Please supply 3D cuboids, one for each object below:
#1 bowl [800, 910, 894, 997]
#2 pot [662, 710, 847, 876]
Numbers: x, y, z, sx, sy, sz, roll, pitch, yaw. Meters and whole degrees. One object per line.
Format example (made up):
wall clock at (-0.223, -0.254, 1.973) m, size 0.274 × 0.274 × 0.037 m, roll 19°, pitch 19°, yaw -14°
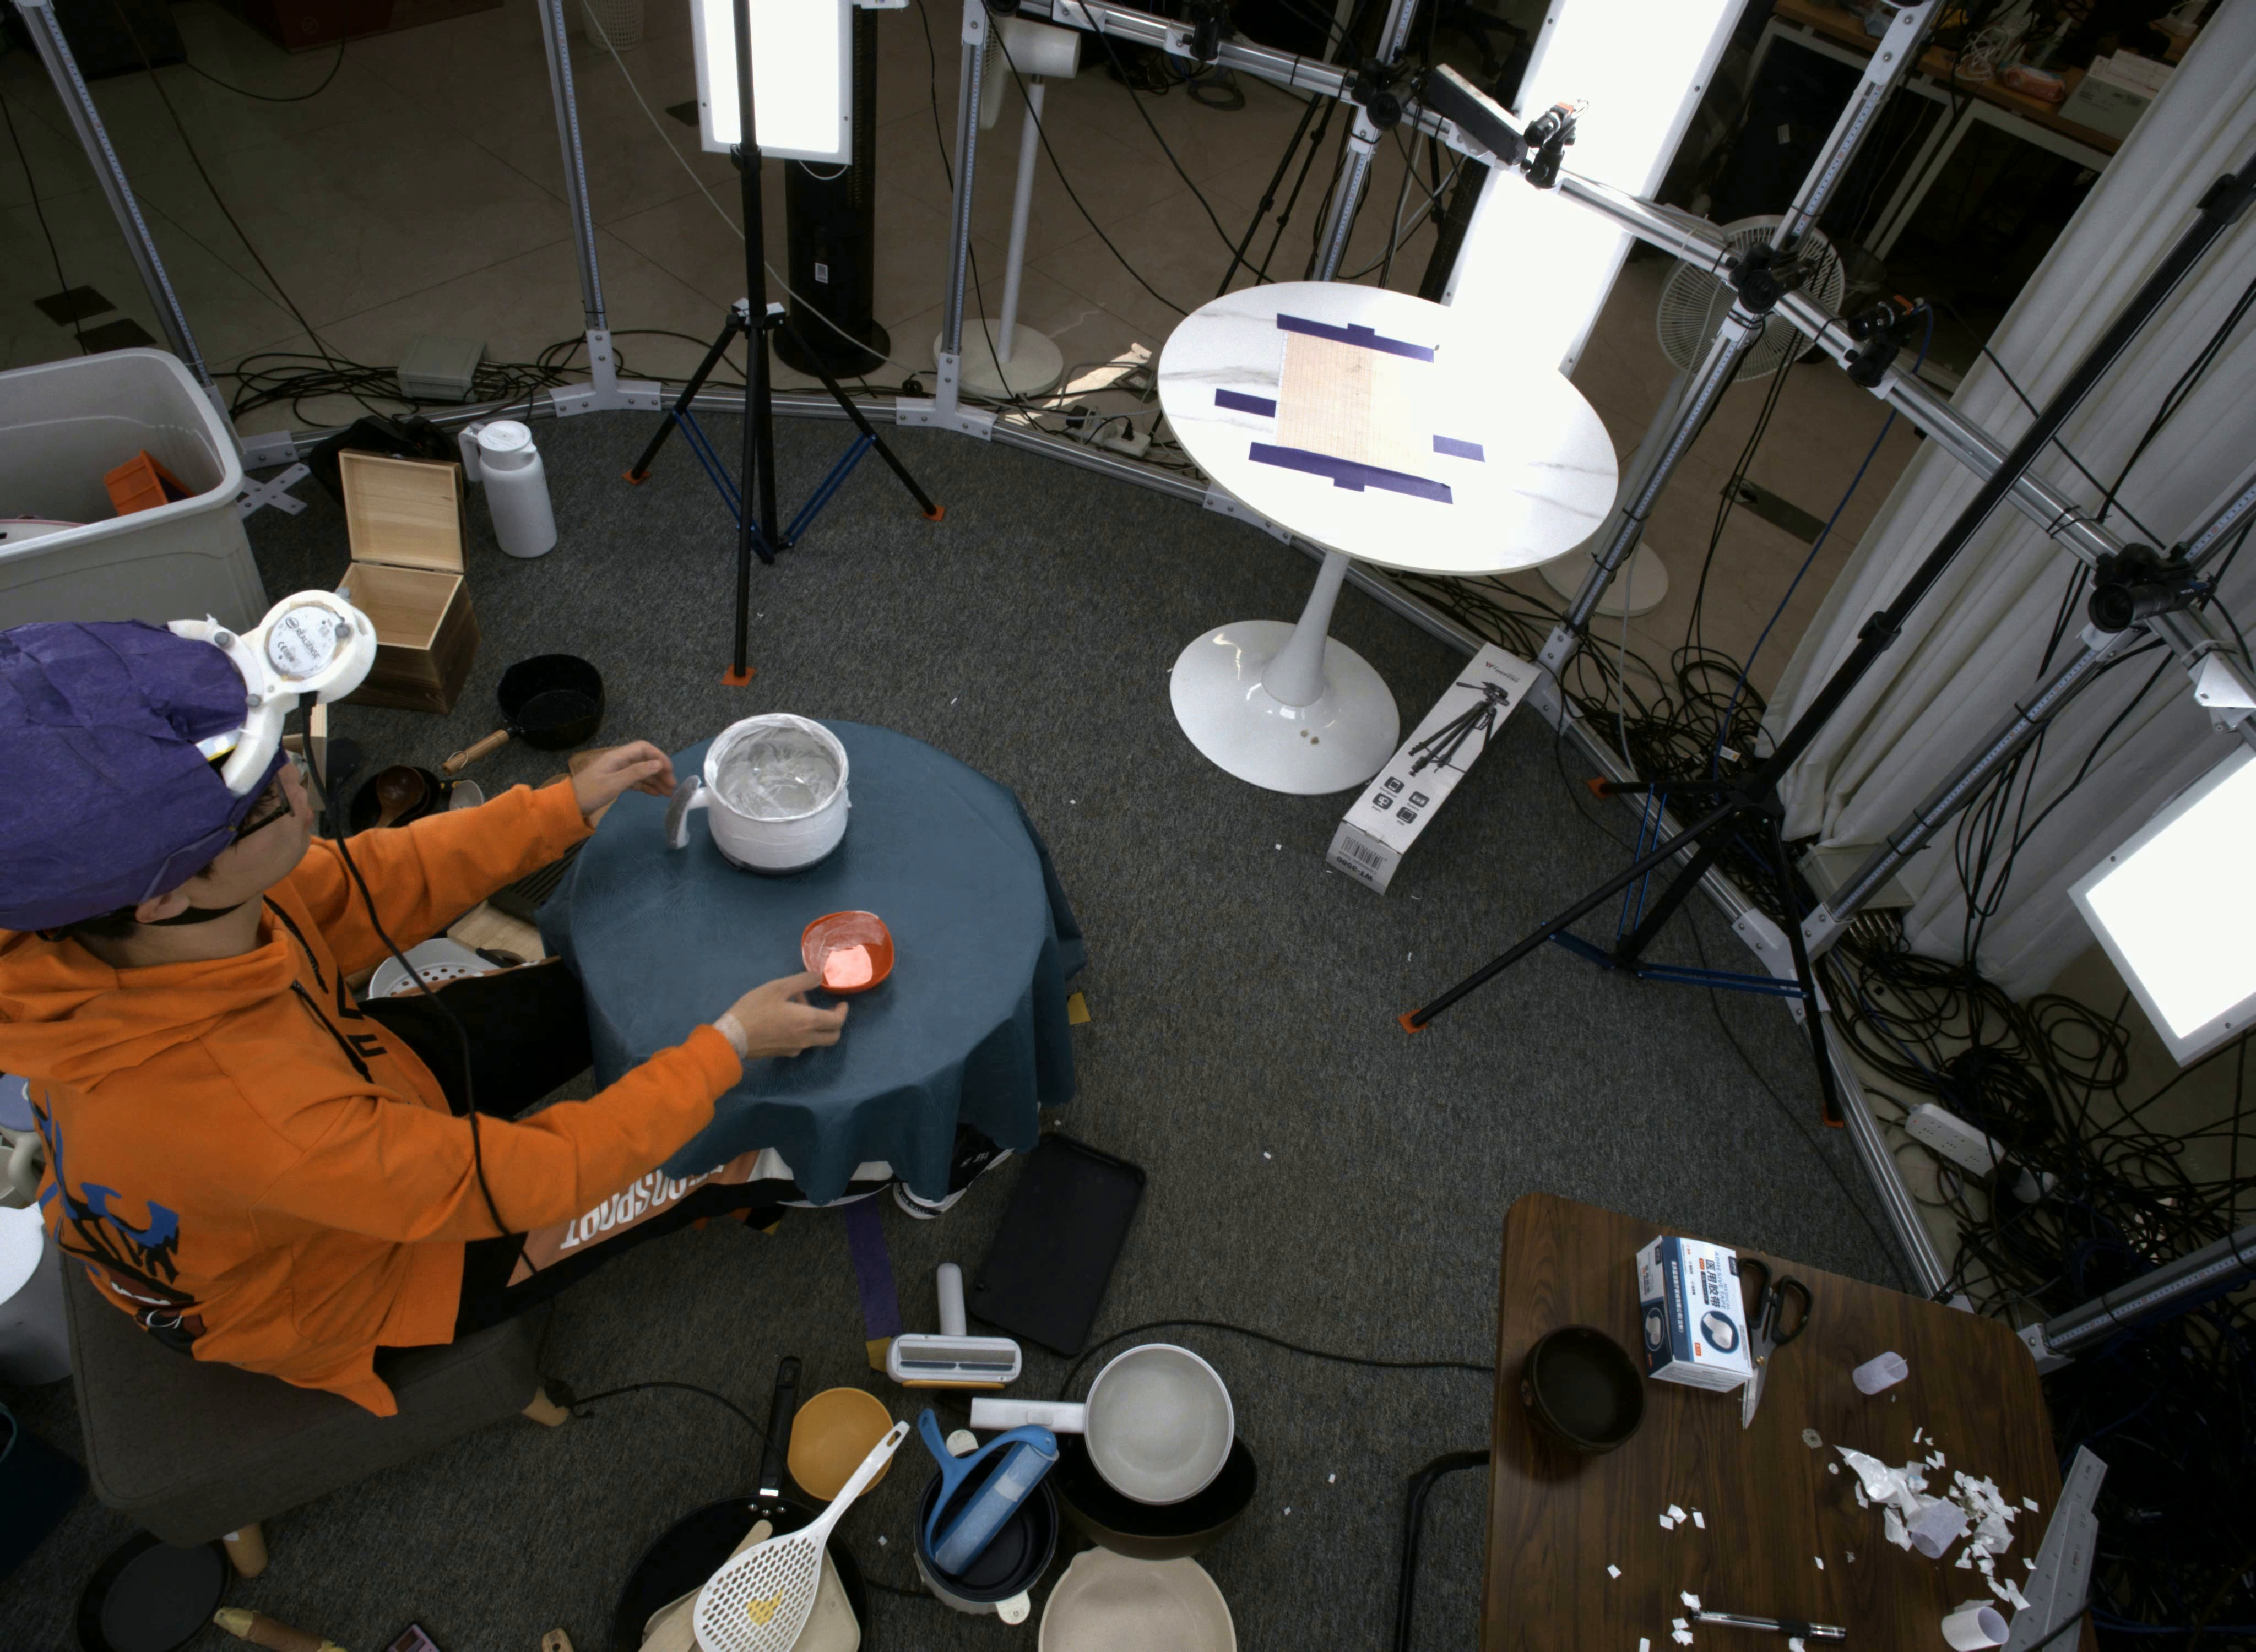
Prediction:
bowl at (-0.342, 0.162, 1.581) m, size 0.119 × 0.052 × 0.117 m, roll 9°, pitch 52°, yaw -10°
pot at (-0.473, -0.032, 1.636) m, size 0.235 × 0.139 × 0.174 m, roll -14°, pitch 57°, yaw -24°
